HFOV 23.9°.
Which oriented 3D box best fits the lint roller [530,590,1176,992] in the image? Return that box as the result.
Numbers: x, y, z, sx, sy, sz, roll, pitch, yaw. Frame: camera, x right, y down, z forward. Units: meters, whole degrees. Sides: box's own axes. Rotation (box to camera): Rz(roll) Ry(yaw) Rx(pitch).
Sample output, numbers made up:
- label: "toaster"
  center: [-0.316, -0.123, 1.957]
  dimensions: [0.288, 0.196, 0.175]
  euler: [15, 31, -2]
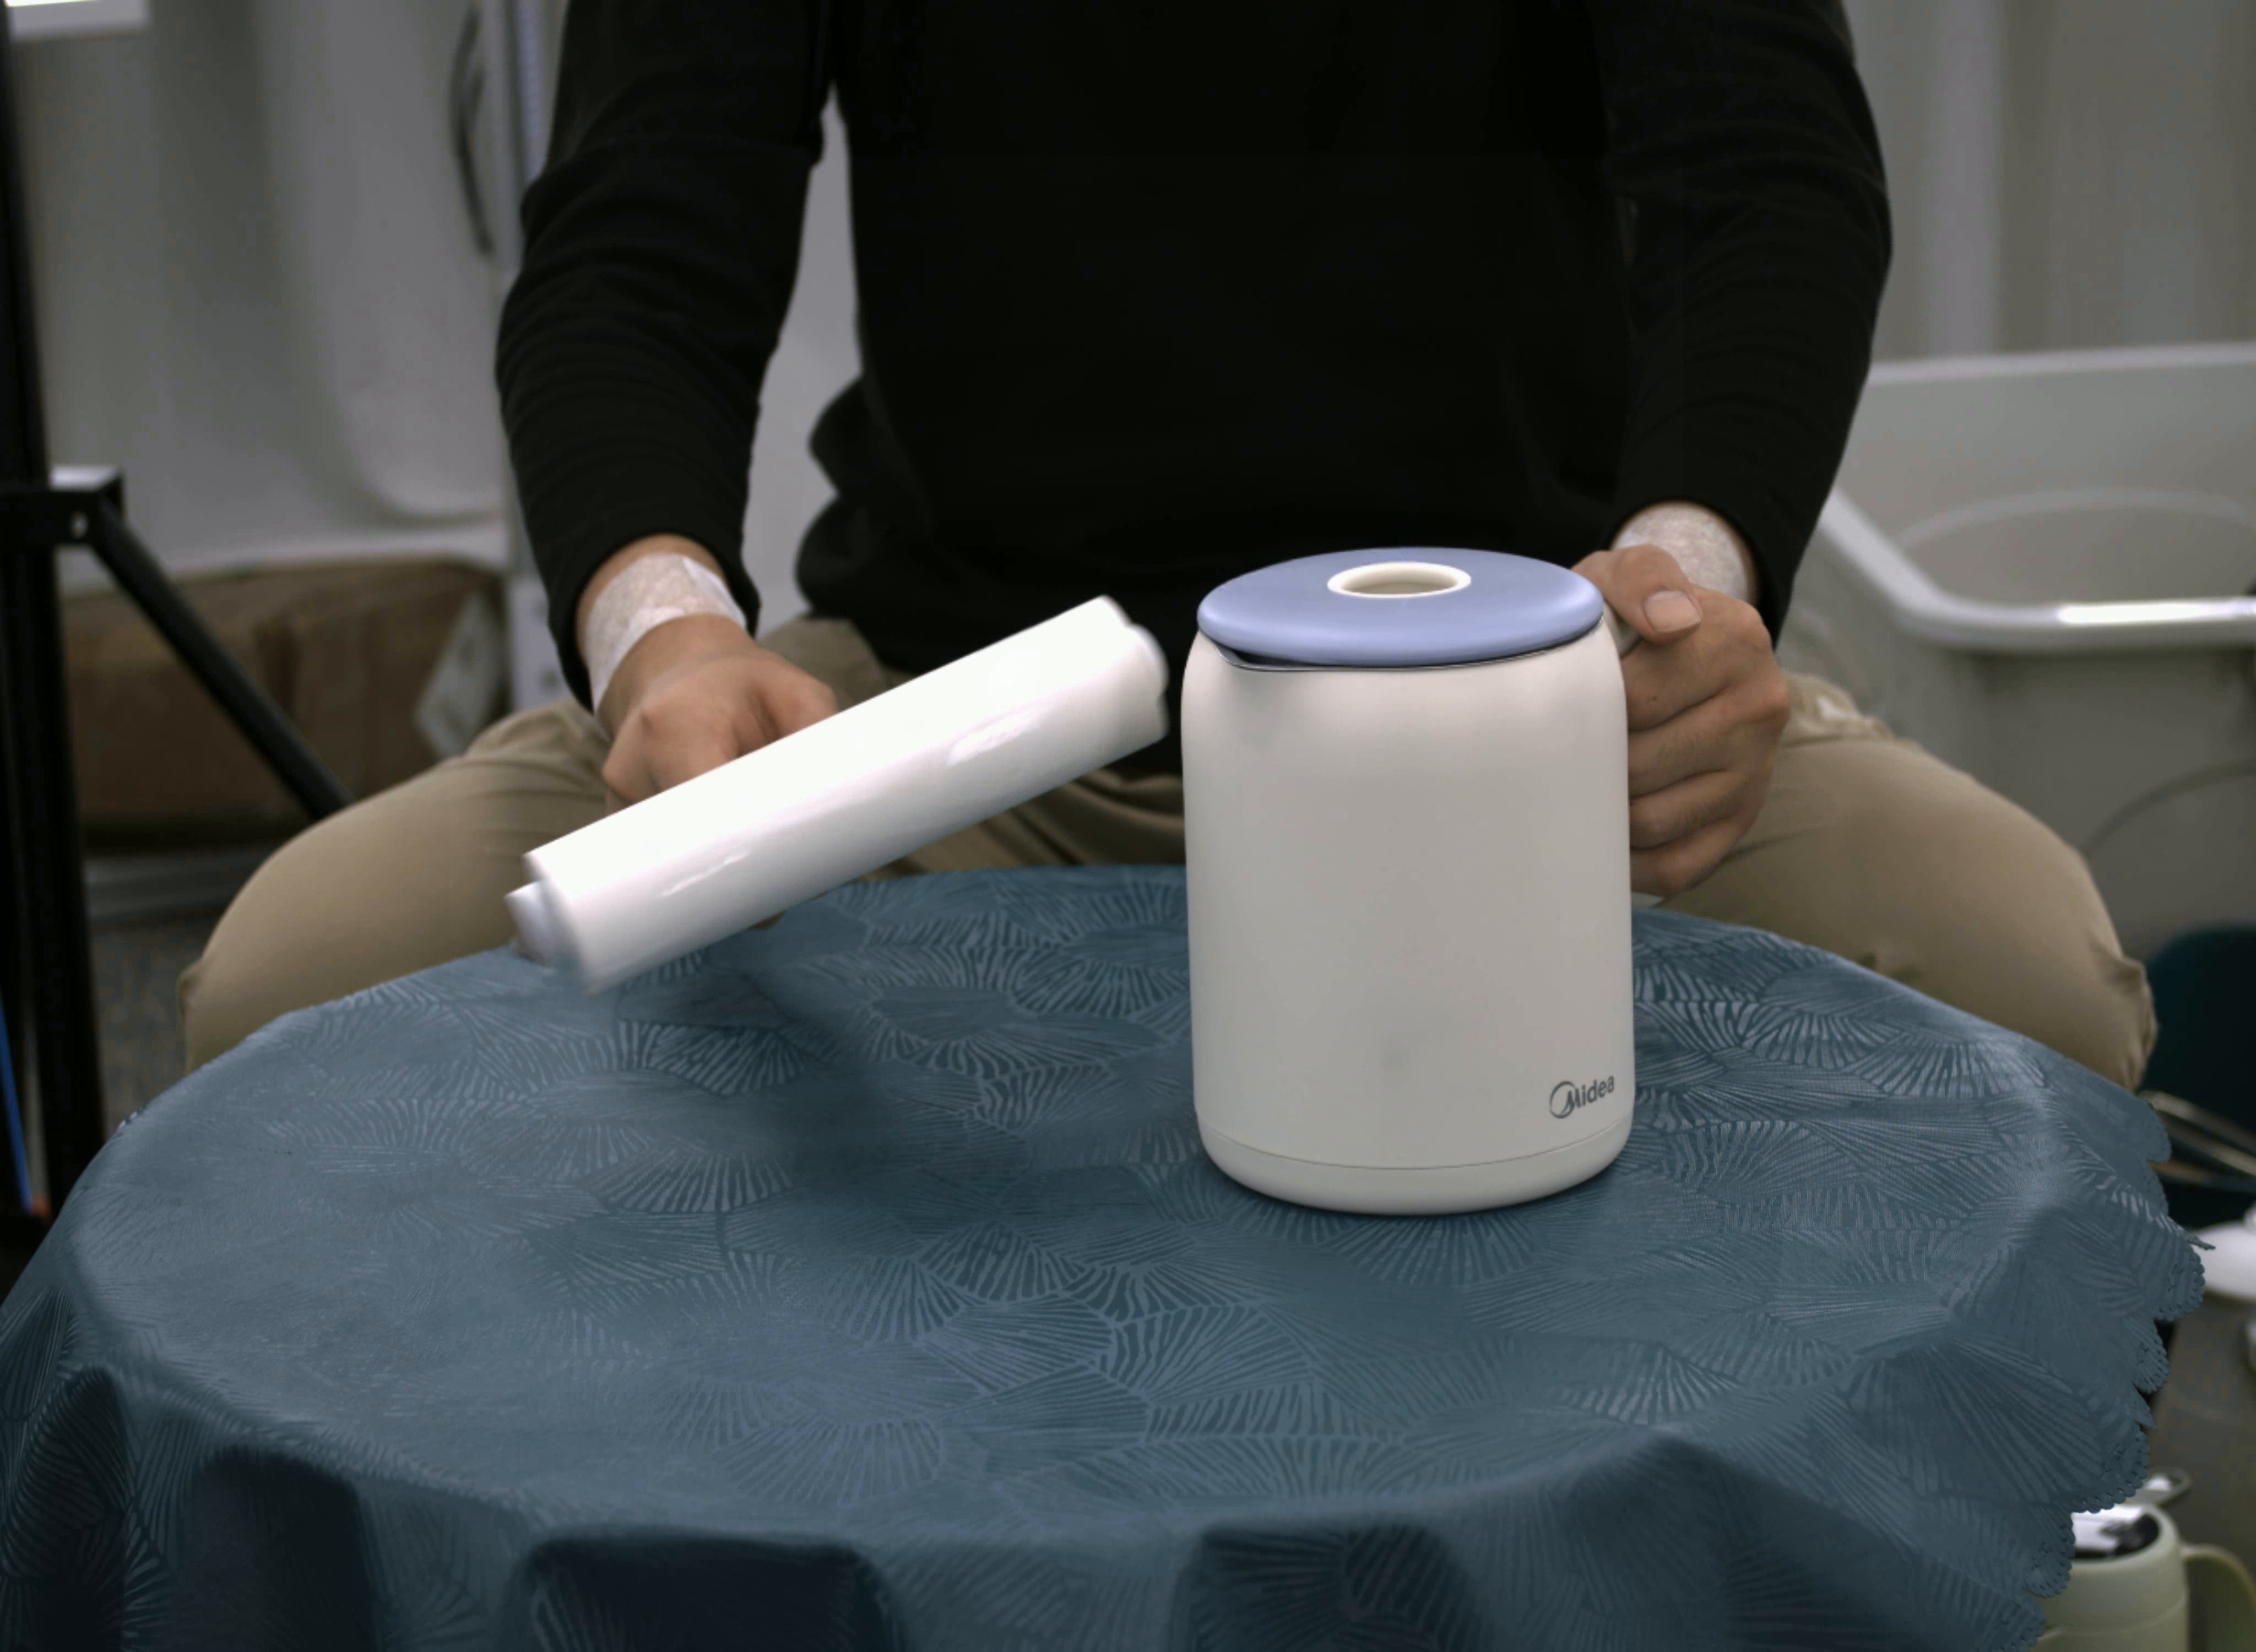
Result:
- label: "lint roller"
  center: [-0.104, -0.012, 1.671]
  dimensions: [0.200, 0.048, 0.228]
  euler: [-26, 8, -15]

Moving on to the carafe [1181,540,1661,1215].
- label: "carafe"
  center: [0.099, 0.009, 1.575]
  dimensions: [0.135, 0.182, 0.186]
  euler: [13, 19, 42]
